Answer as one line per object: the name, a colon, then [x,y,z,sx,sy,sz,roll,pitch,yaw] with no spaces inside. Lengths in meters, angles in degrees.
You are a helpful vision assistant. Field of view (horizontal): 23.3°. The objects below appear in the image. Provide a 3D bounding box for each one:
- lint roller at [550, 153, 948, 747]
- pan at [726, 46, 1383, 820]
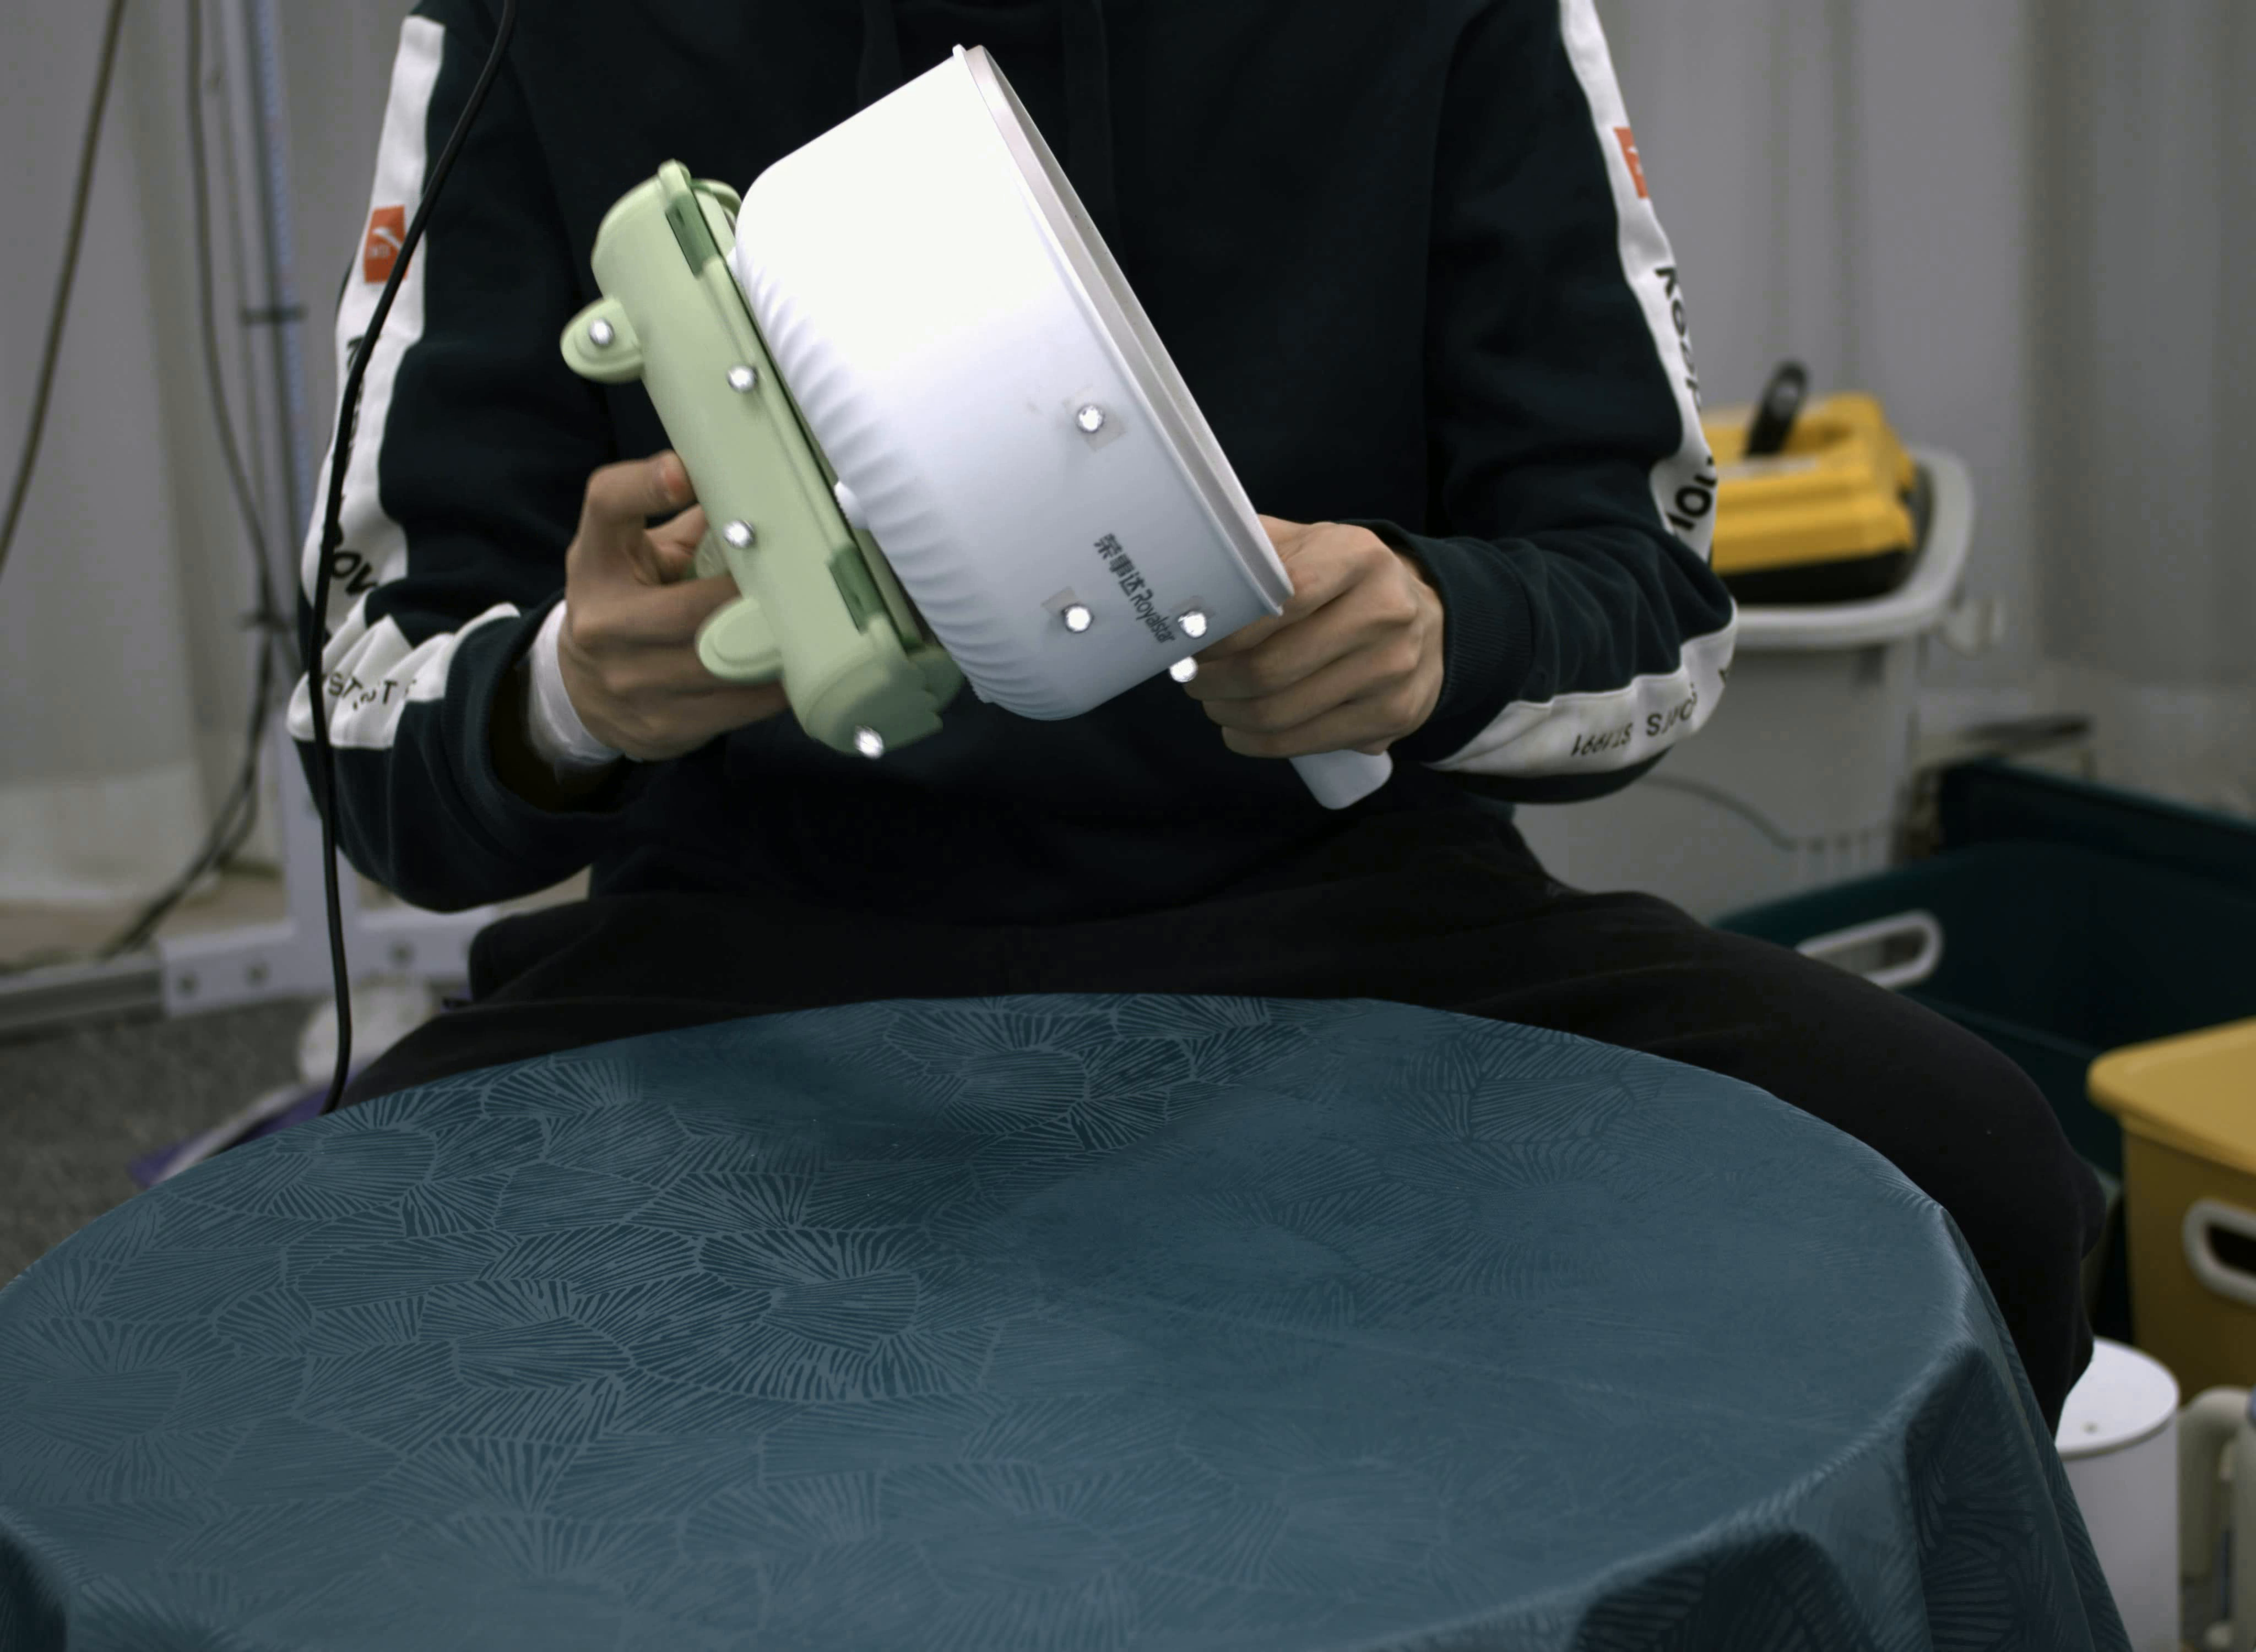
lint roller: [-0.141,-0.087,1.764,0.082,0.201,0.182,-10,-28,-30]
pan: [-0.017,-0.092,1.749,0.102,0.350,0.204,-29,53,4]
